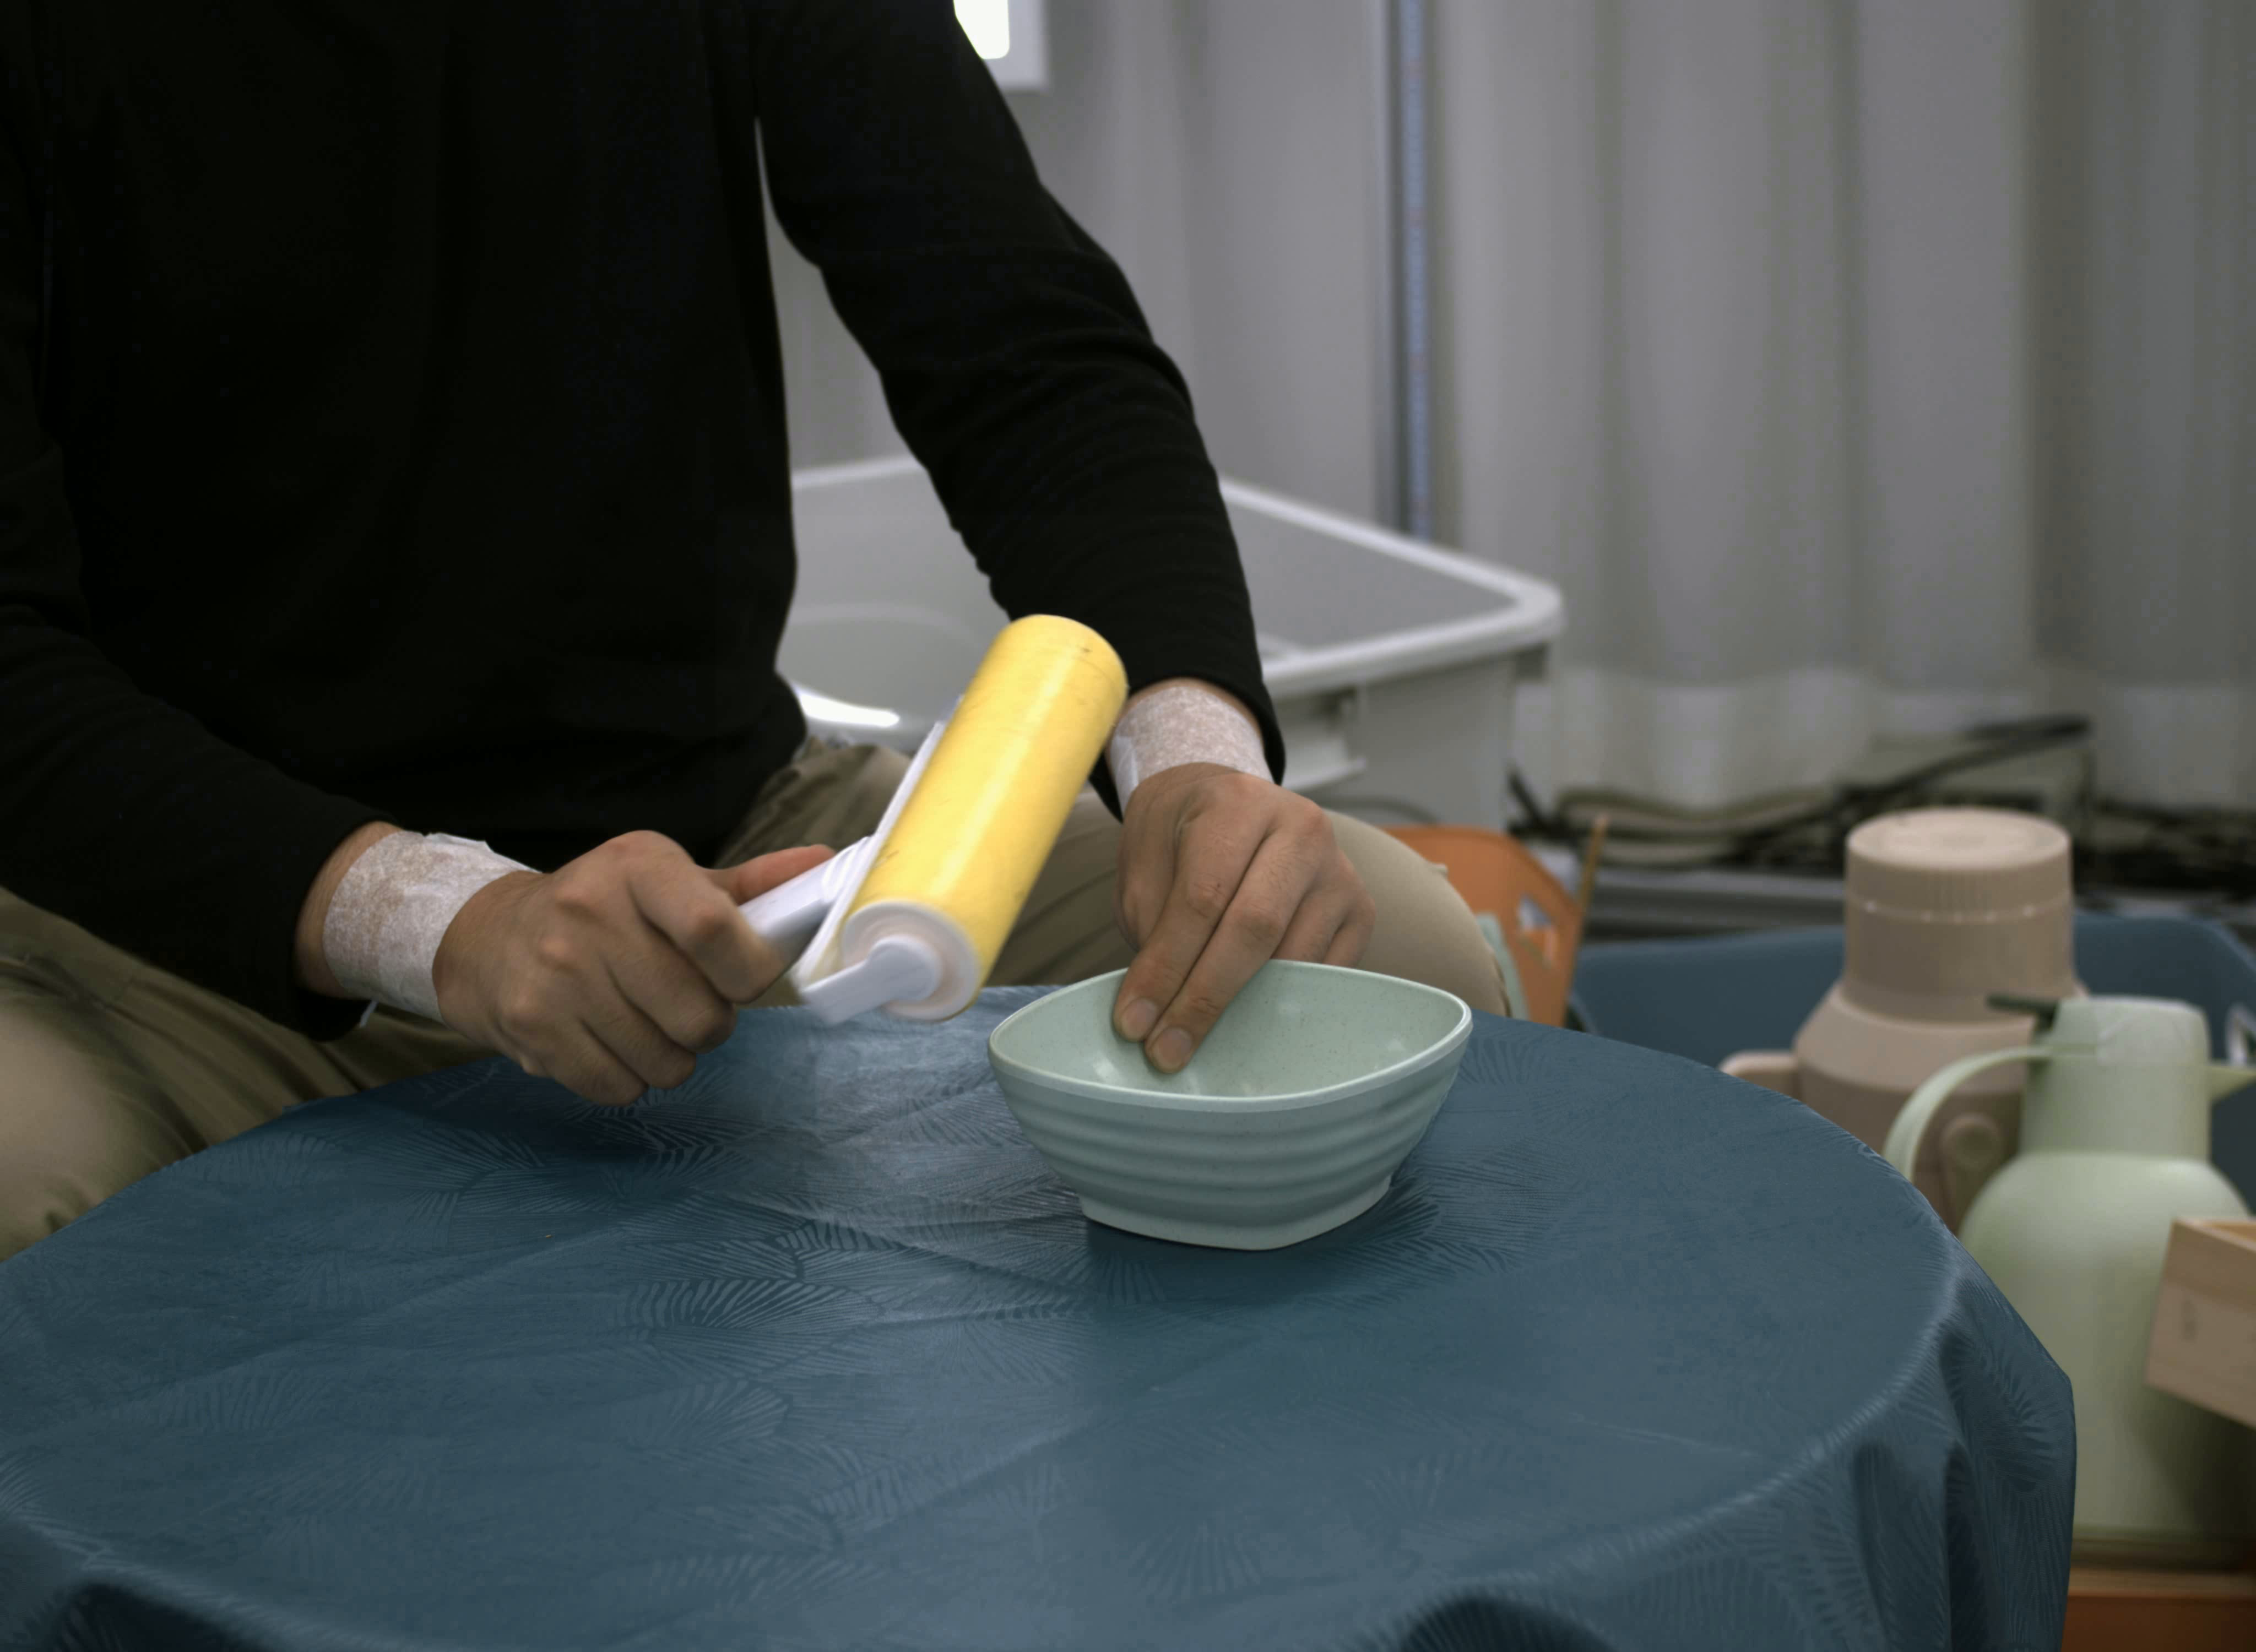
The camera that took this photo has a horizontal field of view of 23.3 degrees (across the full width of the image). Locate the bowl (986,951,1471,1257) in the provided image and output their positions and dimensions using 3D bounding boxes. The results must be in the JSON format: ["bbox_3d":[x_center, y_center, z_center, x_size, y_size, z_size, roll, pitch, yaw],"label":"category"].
[{"bbox_3d":[0.032,0.089,1.692,0.151,0.058,0.152,-1,16,0],"label":"bowl"}]

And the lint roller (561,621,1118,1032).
[{"bbox_3d":[-0.107,0.017,1.728,0.191,0.051,0.176,-15,28,26],"label":"lint roller"}]
